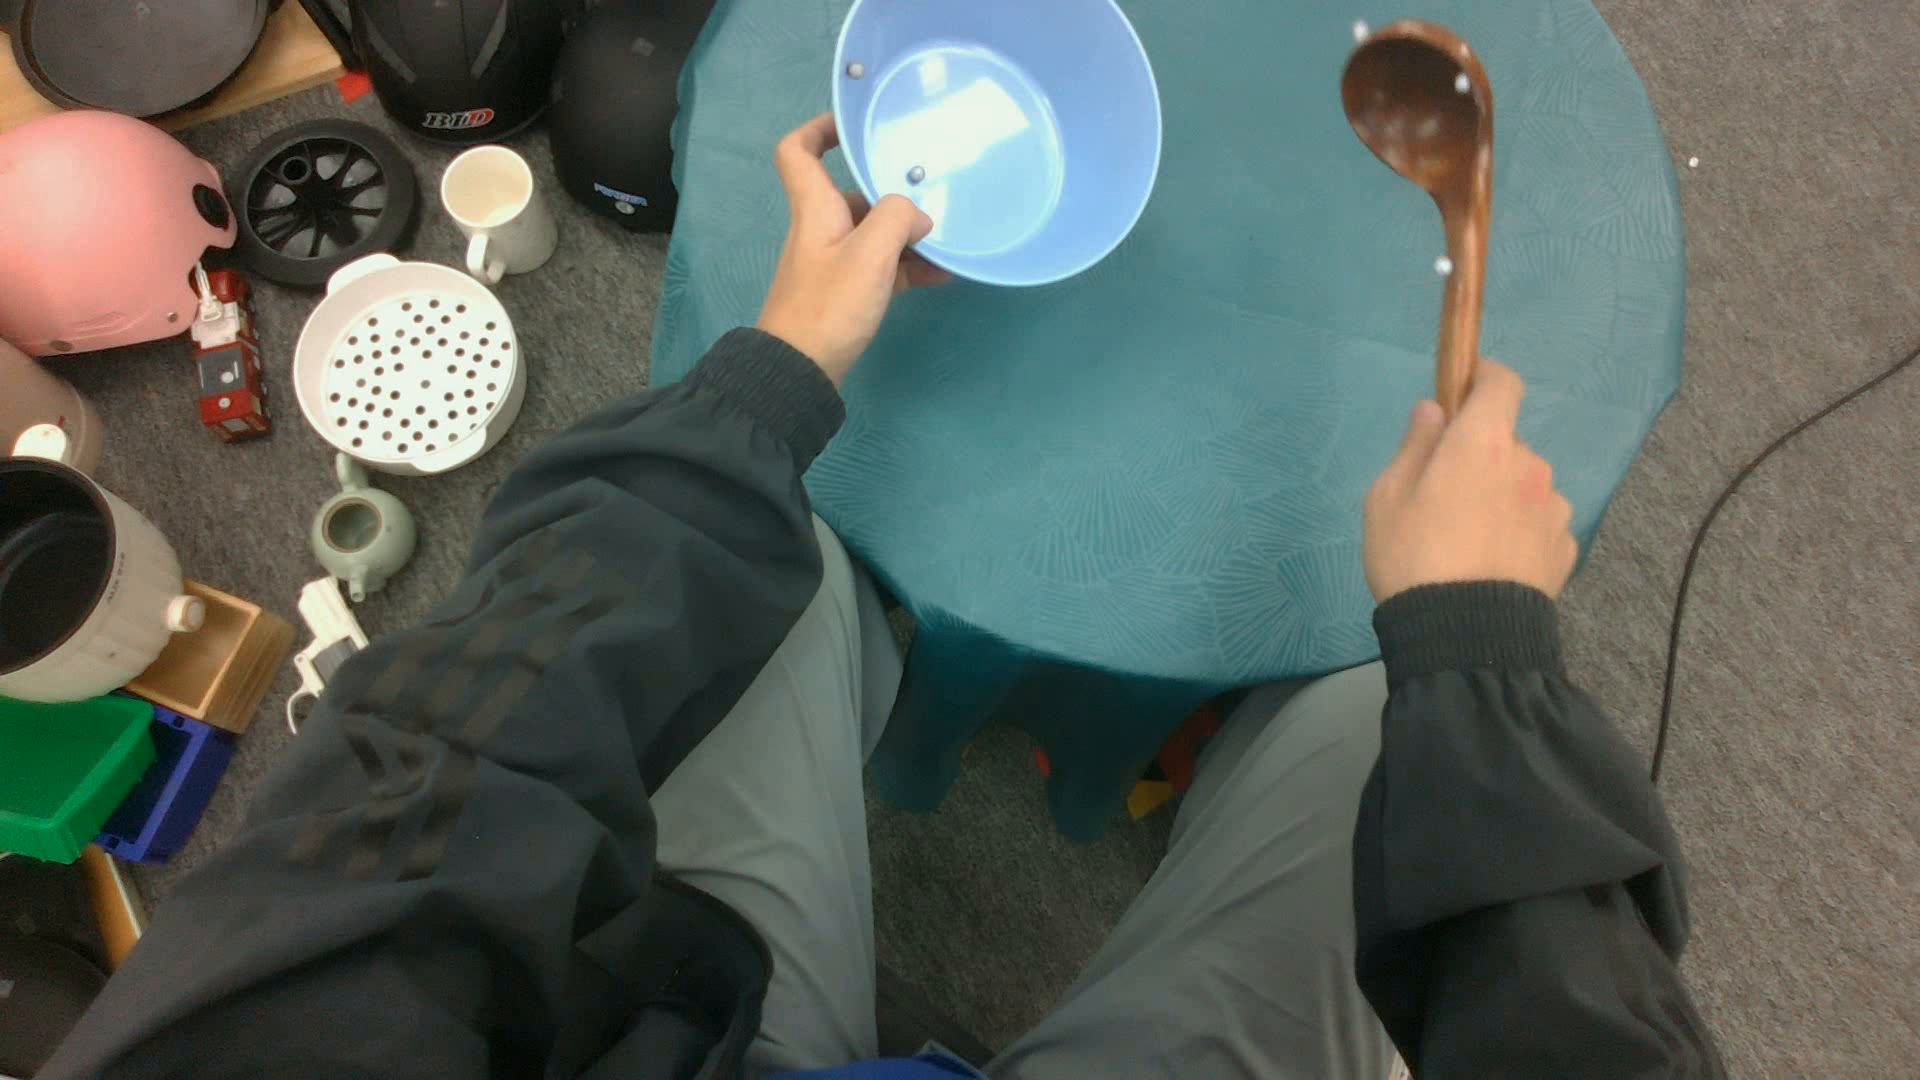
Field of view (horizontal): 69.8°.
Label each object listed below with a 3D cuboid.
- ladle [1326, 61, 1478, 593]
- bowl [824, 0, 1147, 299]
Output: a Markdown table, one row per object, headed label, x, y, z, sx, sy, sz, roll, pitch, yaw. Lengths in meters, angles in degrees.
| label | x | y | z | sx | sy | sz | roll | pitch | yaw |
| --- | --- | --- | --- | --- | --- | --- | --- | --- | --- |
| ladle | 0.219 | -0.111 | 0.688 | 0.076 | 0.082 | 0.274 | 3 | 76 | 9 |
| bowl | 0.006 | -0.208 | 0.734 | 0.176 | 0.070 | 0.176 | 1 | 86 | -19 |
